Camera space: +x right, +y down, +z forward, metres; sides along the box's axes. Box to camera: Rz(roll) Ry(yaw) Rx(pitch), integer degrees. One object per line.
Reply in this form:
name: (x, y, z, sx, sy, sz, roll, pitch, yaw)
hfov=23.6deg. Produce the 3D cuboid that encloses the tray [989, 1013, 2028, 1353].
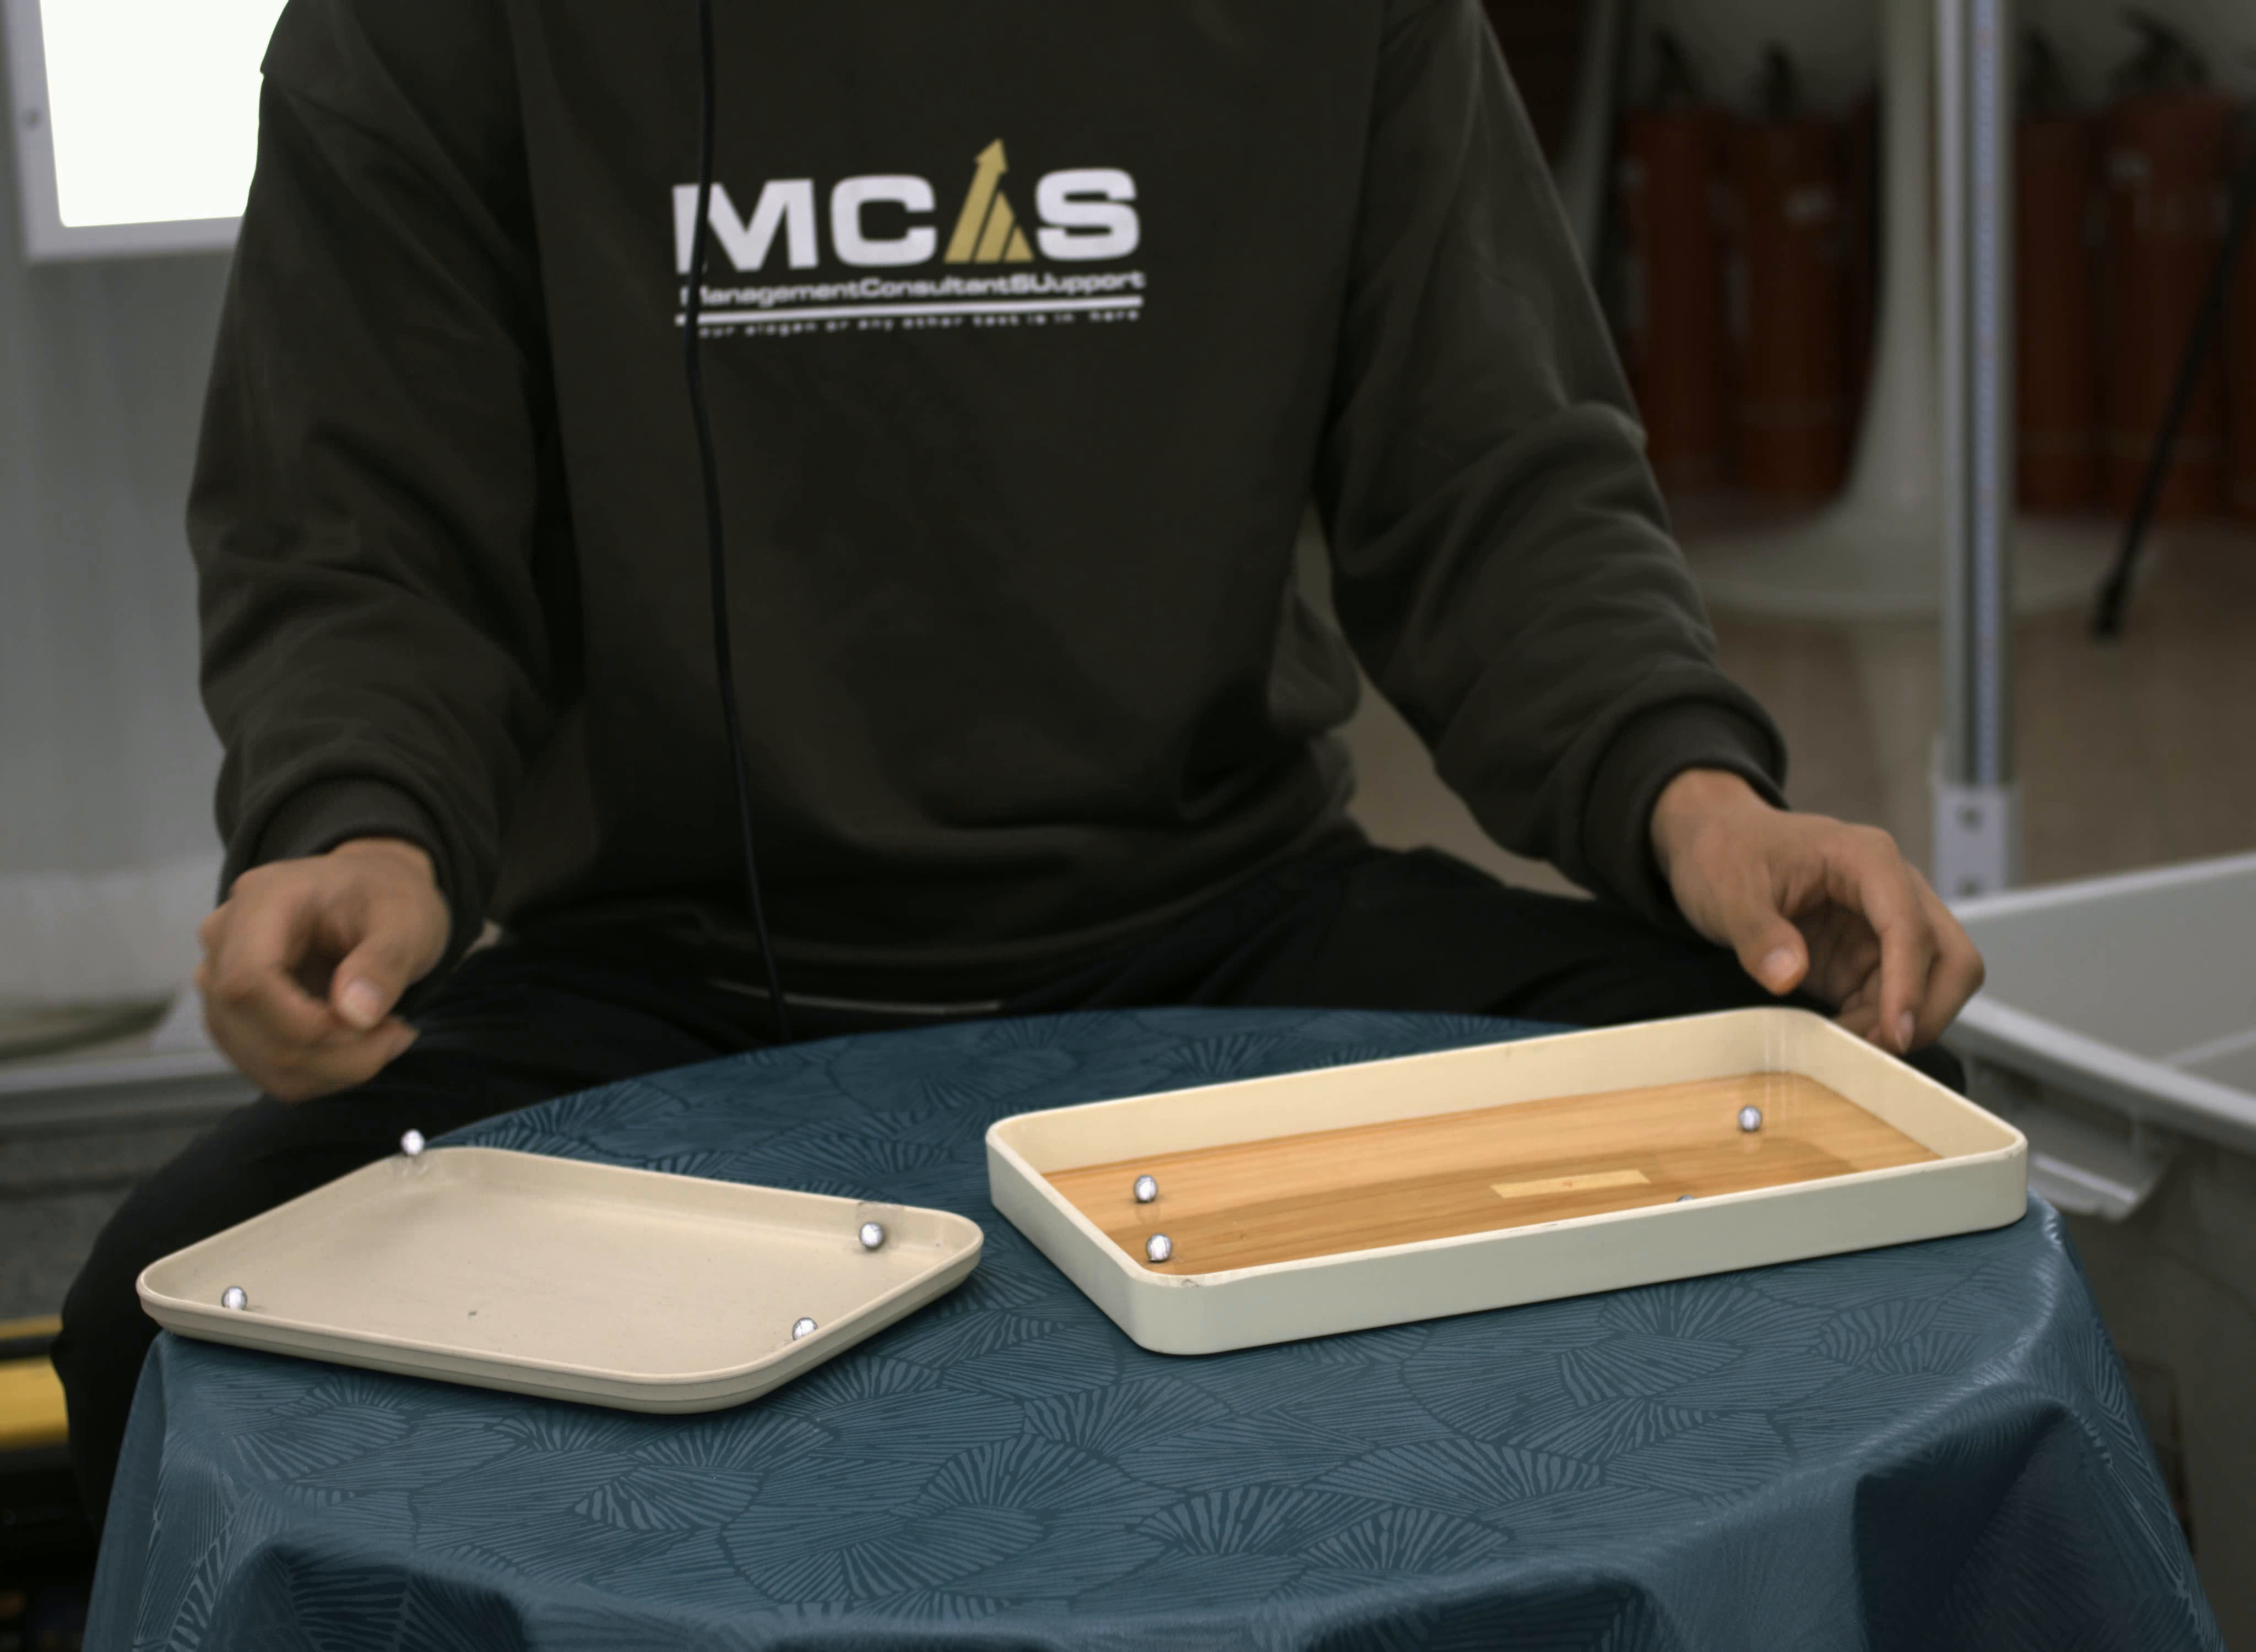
tray: (0.119, 0.112, 1.729, 0.294, 0.028, 0.193, -7, 13, -16)

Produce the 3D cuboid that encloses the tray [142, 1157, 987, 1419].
tray: (-0.175, 0.144, 1.695, 0.241, 0.017, 0.168, 4, 16, 32)
